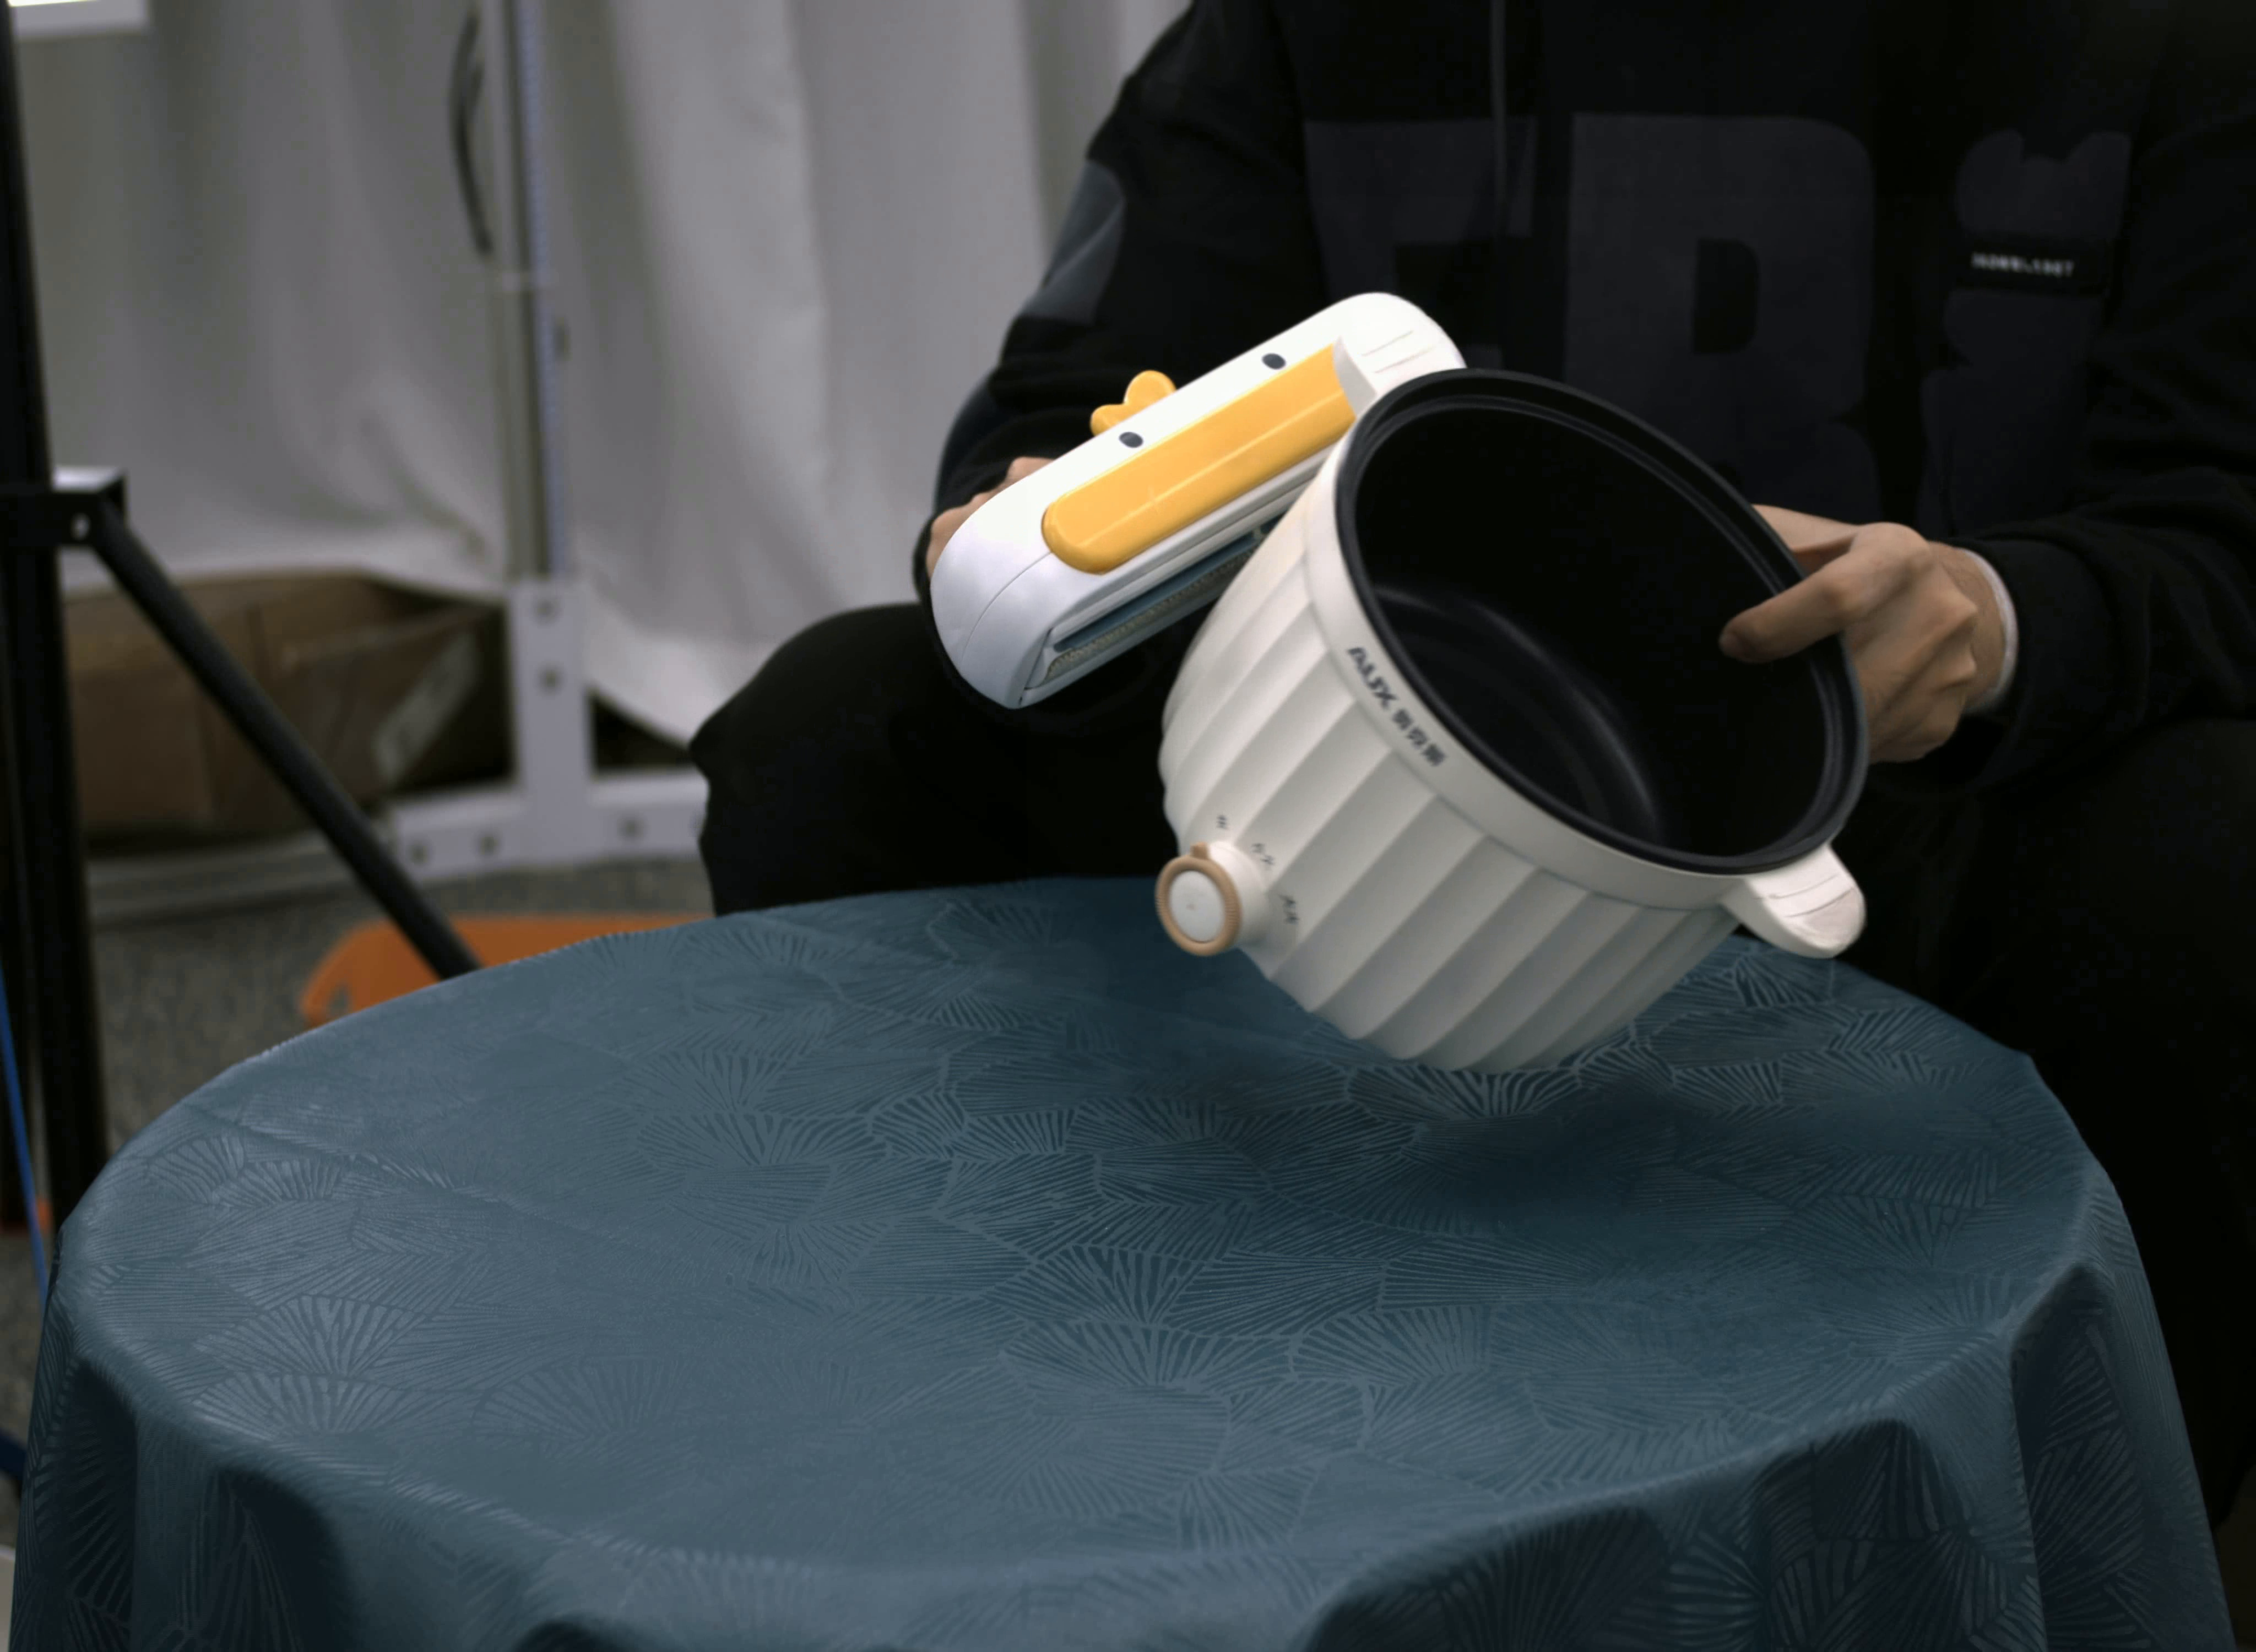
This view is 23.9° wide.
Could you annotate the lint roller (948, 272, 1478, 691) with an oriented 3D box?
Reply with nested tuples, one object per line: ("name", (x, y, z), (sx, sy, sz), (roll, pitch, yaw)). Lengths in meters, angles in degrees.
("lint roller", (0.001, -0.085, 1.665), (0.190, 0.074, 0.194), (-36, -7, -33))

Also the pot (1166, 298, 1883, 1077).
("pot", (0.104, -0.020, 1.551), (0.186, 0.144, 0.244), (-17, 63, -48))
